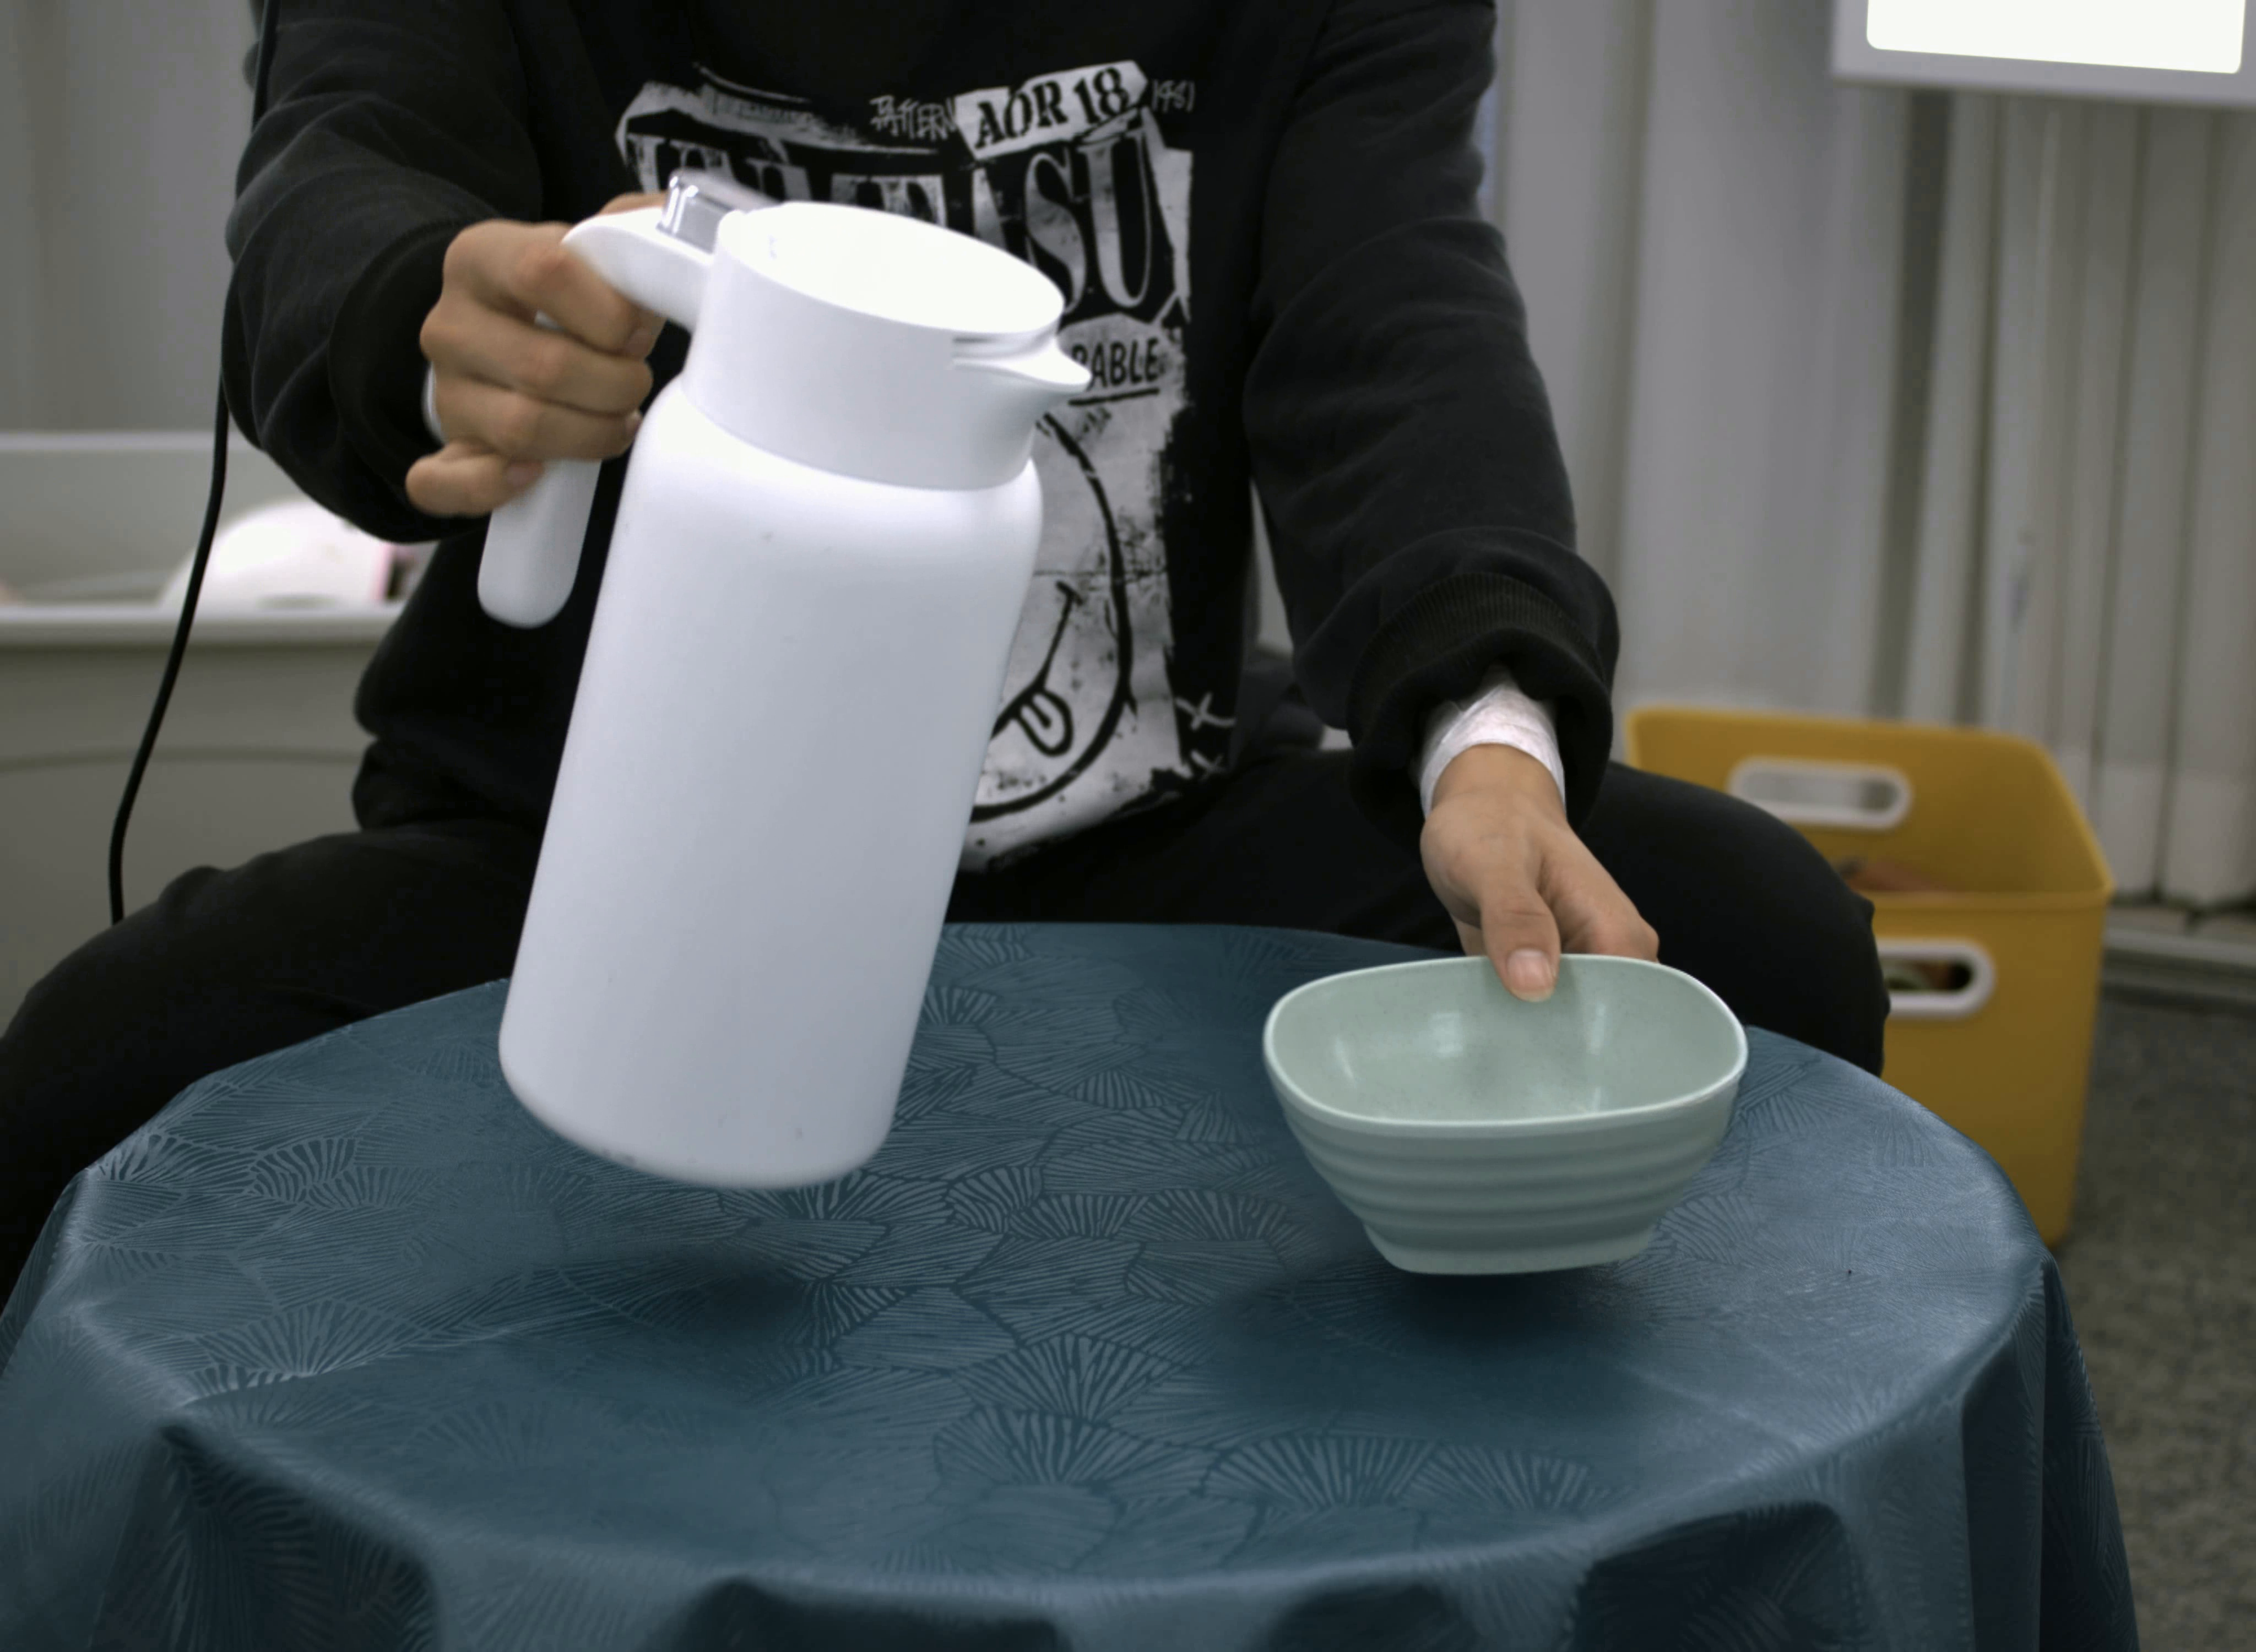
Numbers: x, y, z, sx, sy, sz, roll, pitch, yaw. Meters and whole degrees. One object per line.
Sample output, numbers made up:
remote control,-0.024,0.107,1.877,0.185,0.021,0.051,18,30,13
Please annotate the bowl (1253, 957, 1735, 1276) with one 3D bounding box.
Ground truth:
bowl,0.107,0.088,1.536,0.151,0.059,0.150,-2,18,1

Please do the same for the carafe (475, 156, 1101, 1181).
carafe,-0.112,-0.047,1.490,0.171,0.271,0.124,26,26,23
